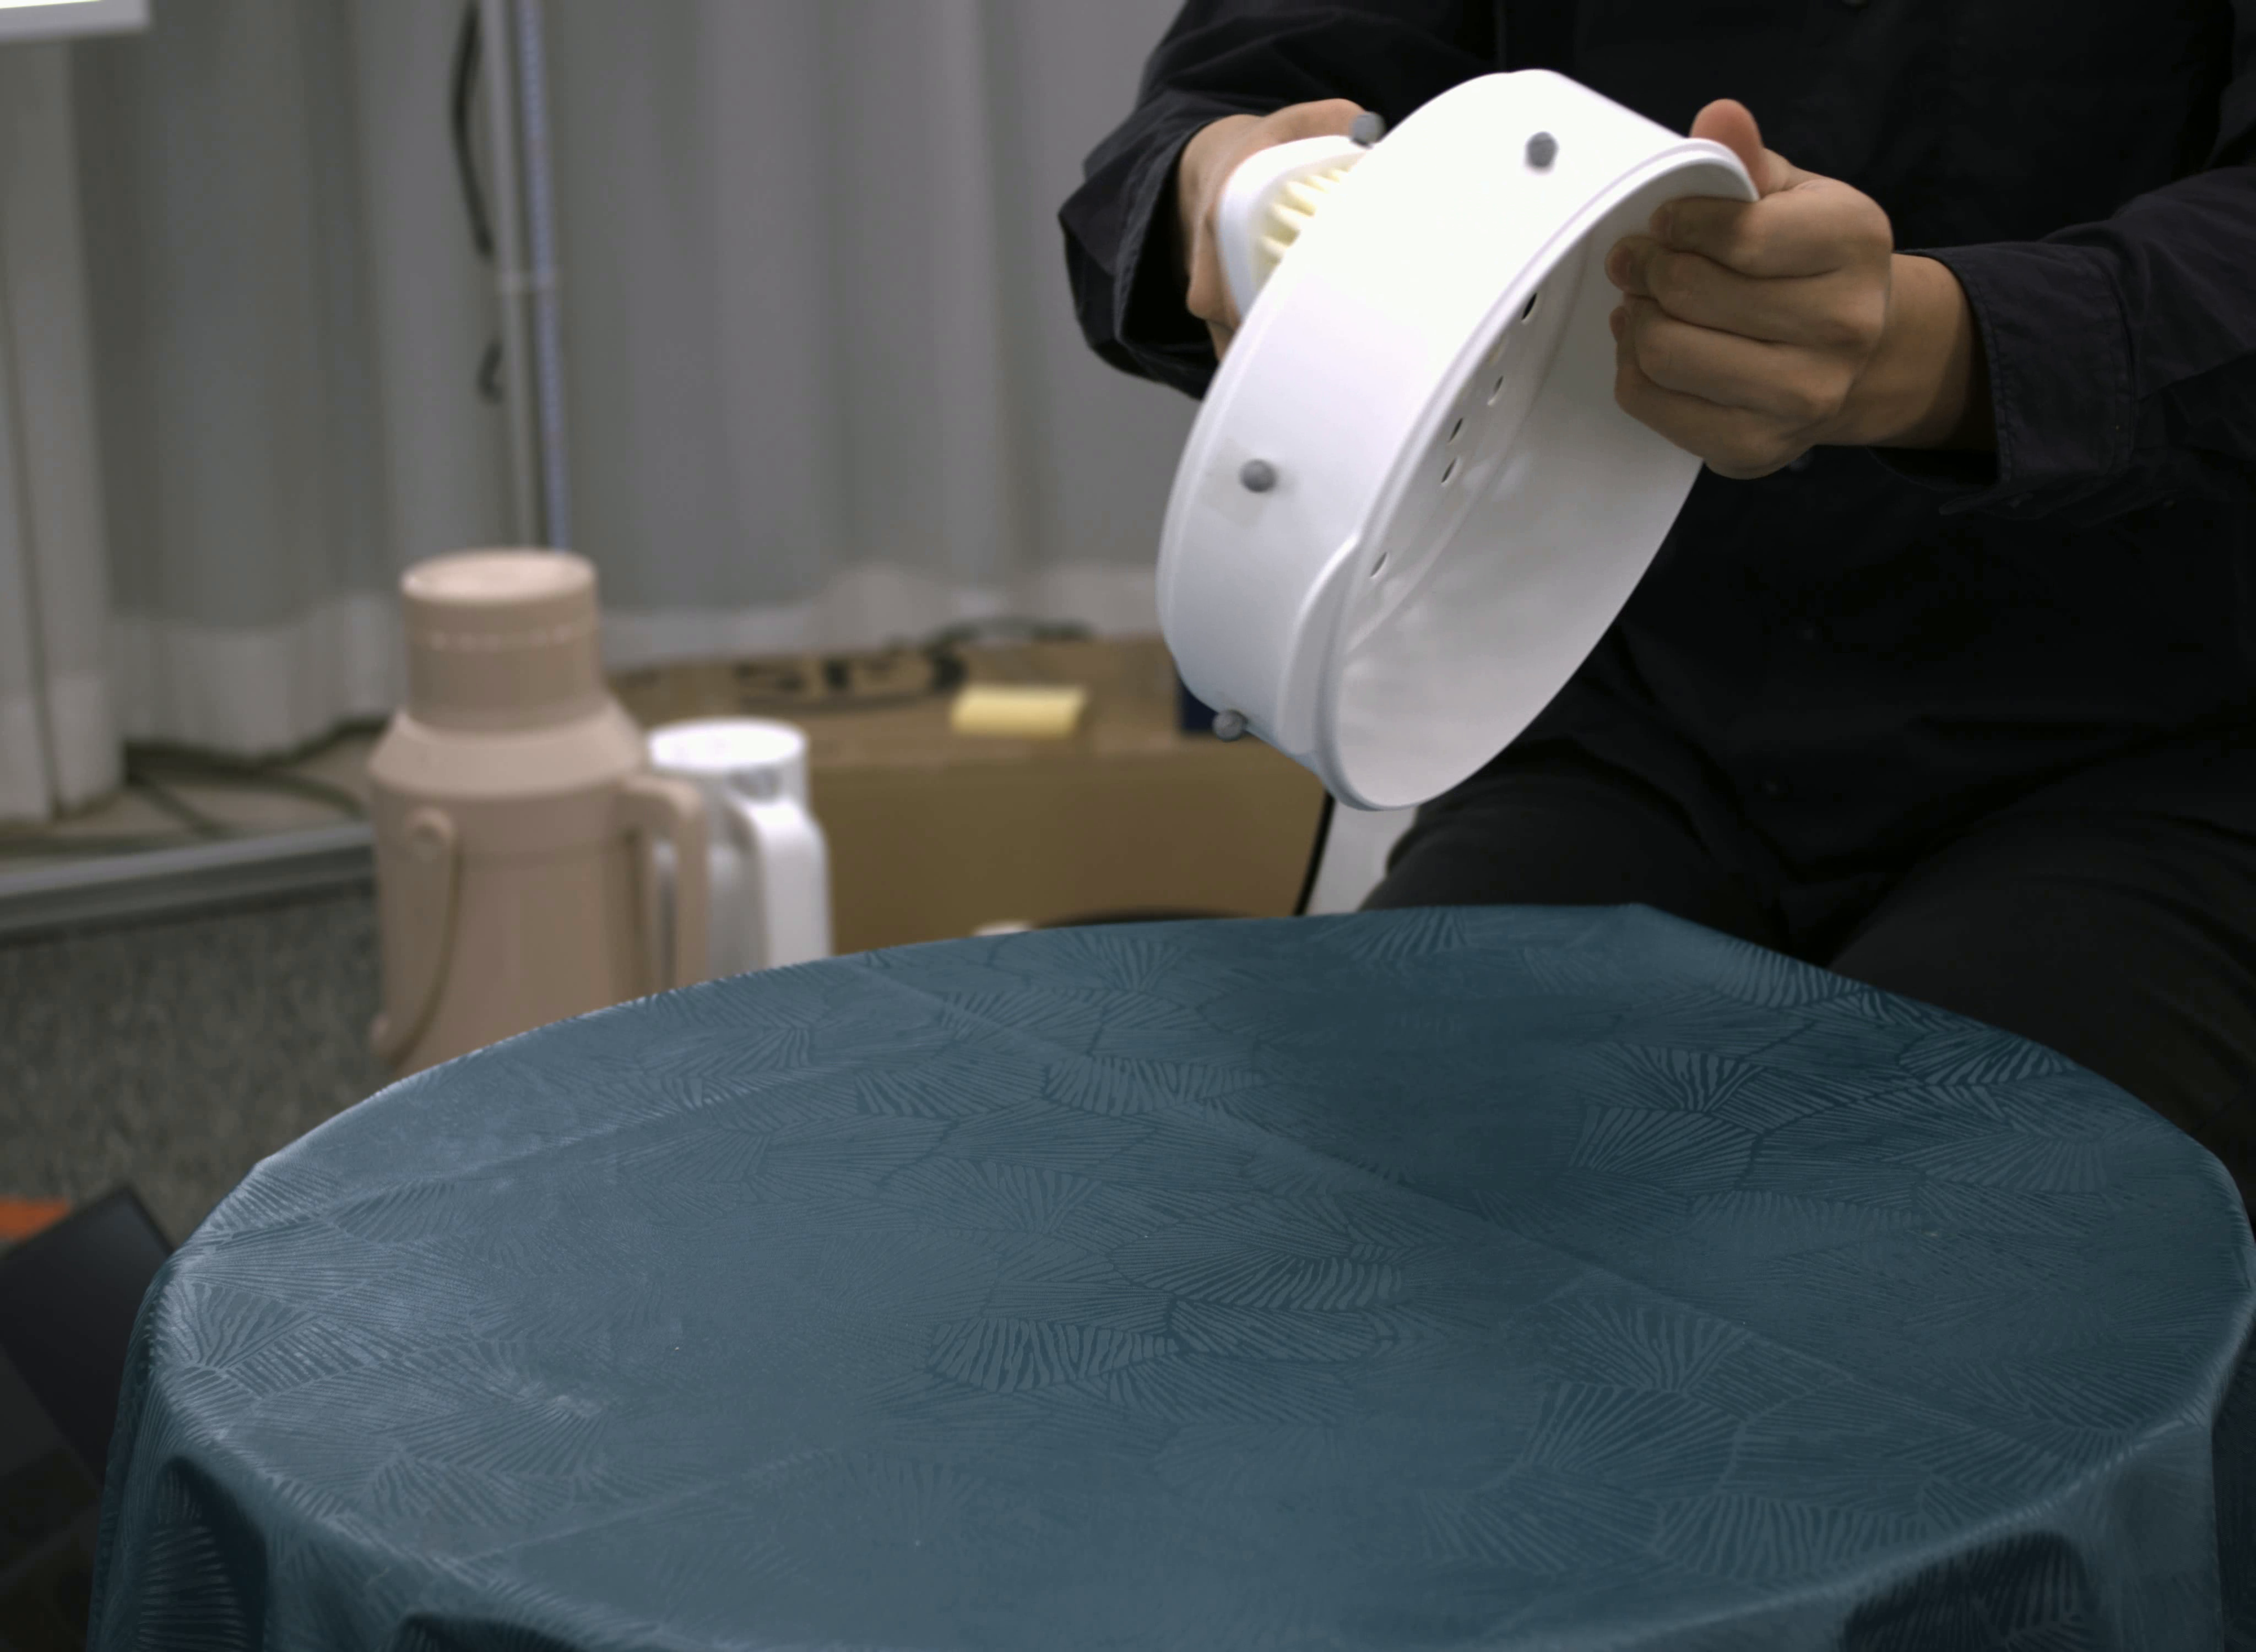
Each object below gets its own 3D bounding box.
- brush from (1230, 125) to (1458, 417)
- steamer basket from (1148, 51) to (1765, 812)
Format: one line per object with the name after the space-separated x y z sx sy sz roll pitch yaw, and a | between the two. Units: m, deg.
0.088 -0.153 1.549 0.083 0.085 0.323 -25 -4 7 | brush
0.085 -0.105 1.414 0.070 0.201 0.227 32 46 21 | steamer basket
